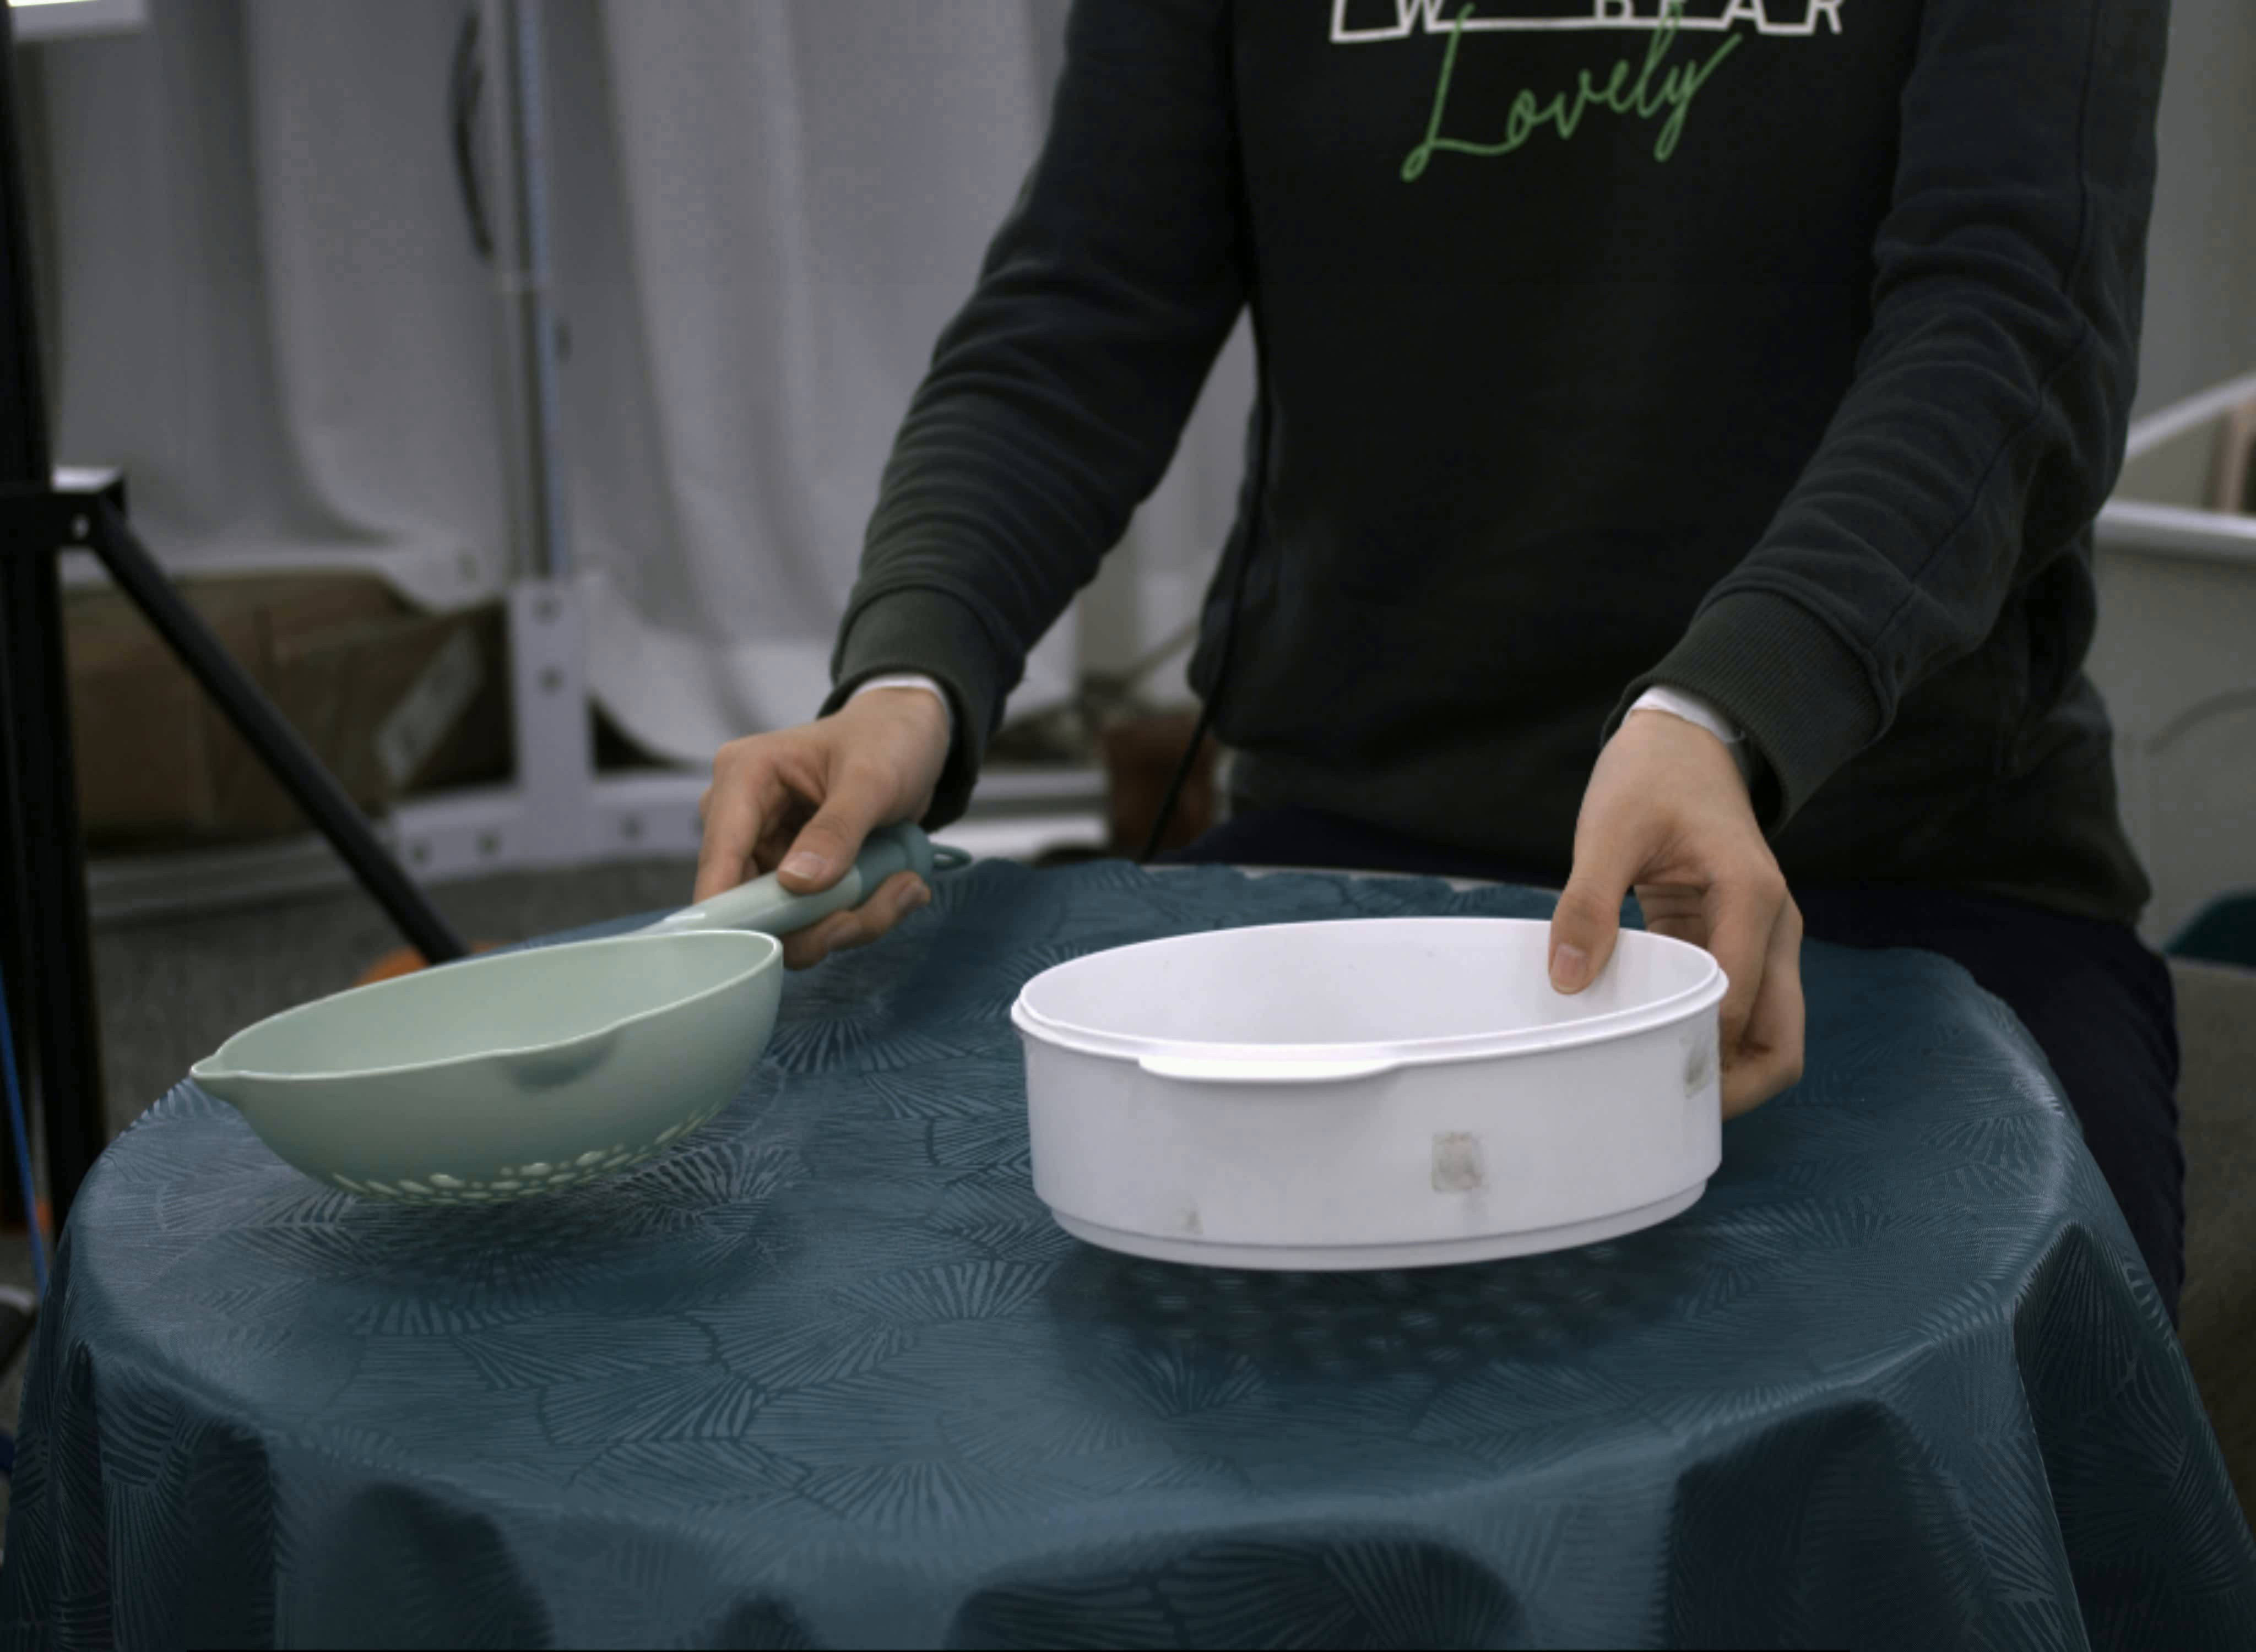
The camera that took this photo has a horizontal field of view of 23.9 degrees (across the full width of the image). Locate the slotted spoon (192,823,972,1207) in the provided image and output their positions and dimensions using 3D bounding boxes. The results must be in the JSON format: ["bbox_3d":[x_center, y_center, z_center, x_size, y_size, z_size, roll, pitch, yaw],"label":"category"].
[{"bbox_3d":[-0.139,0.043,1.648,0.172,0.075,0.354,-5,18,28],"label":"slotted spoon"}]

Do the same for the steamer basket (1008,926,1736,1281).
[{"bbox_3d":[0.068,0.077,1.477,0.204,0.069,0.227,1,9,19],"label":"steamer basket"}]
